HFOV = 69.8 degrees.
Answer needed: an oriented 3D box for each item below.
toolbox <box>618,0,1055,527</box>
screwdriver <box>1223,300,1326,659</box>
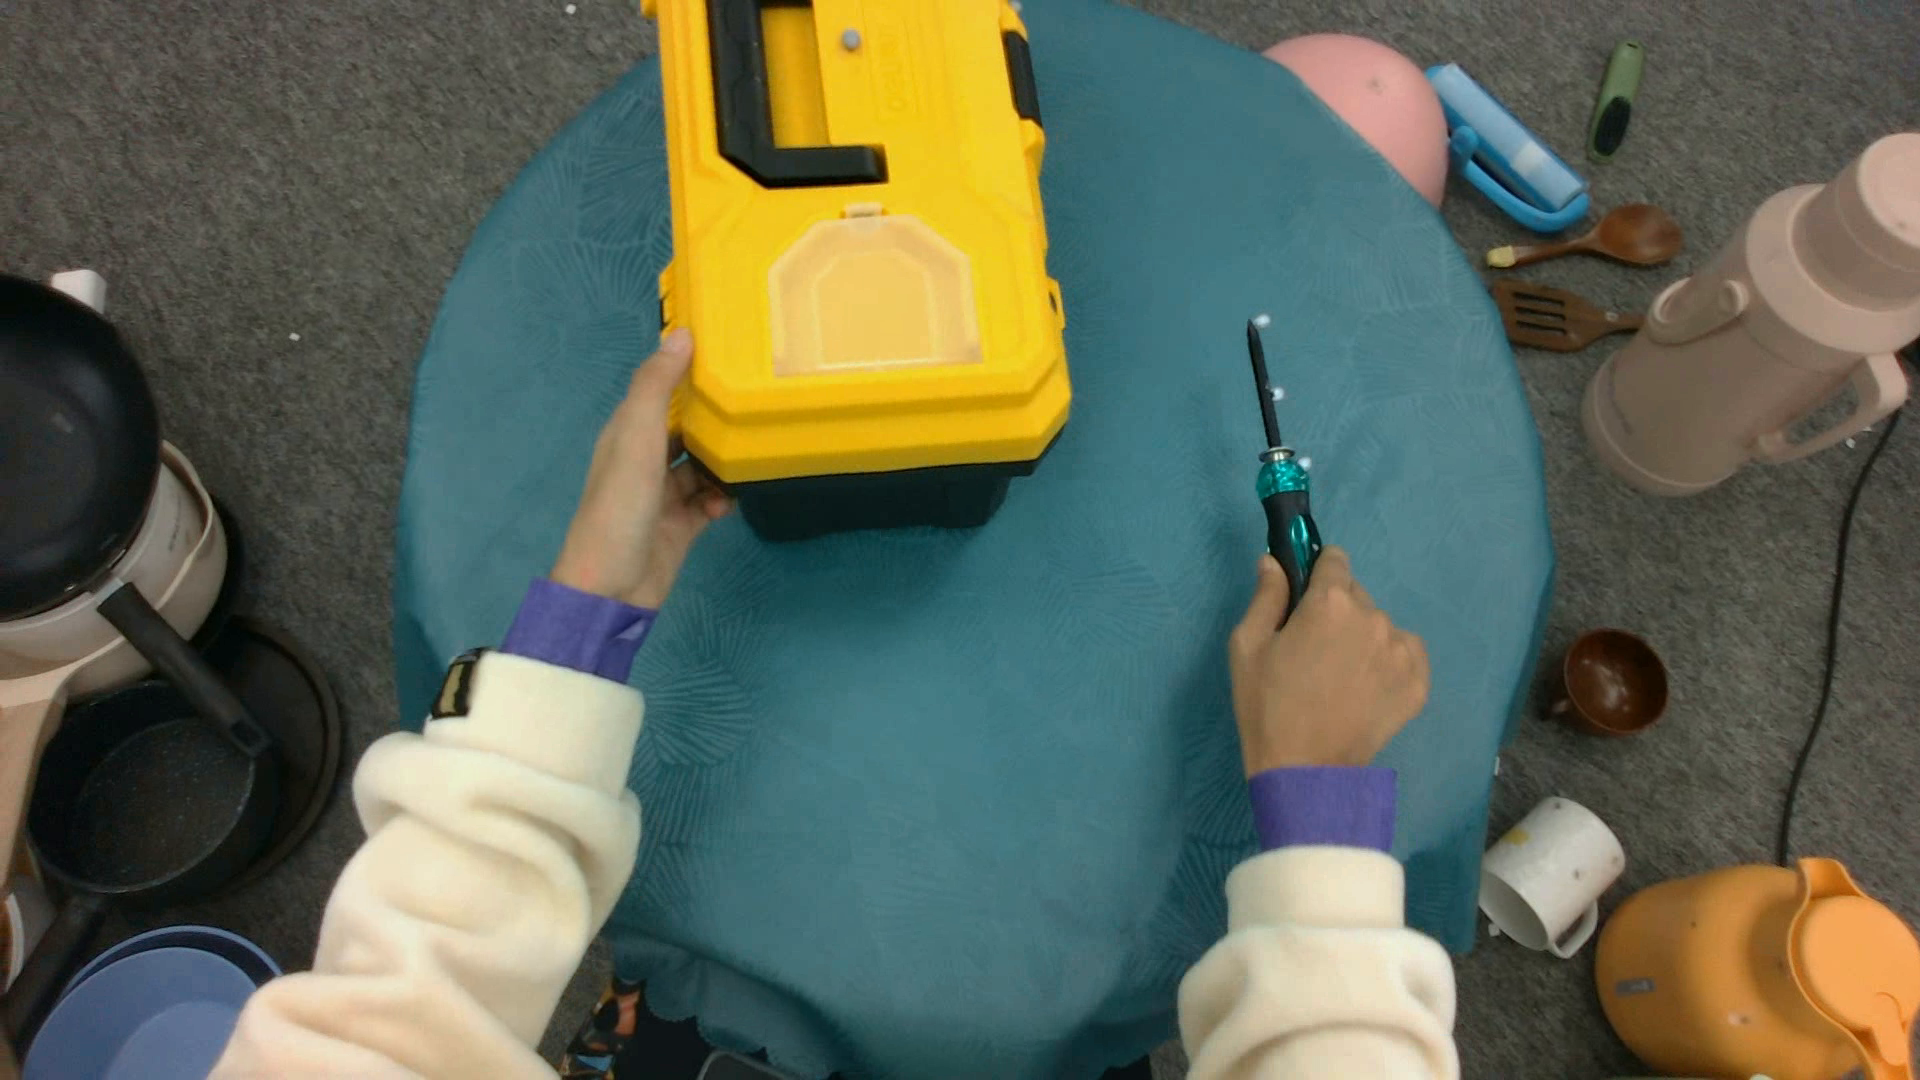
[{"bbox_3d":[-0.068,-0.187,0.679,0.181,0.172,0.352,-5,69,-7],"label":"toolbox"},{"bbox_3d":[0.149,-0.035,0.683,0.034,0.033,0.190,-5,70,-6],"label":"screwdriver"}]
